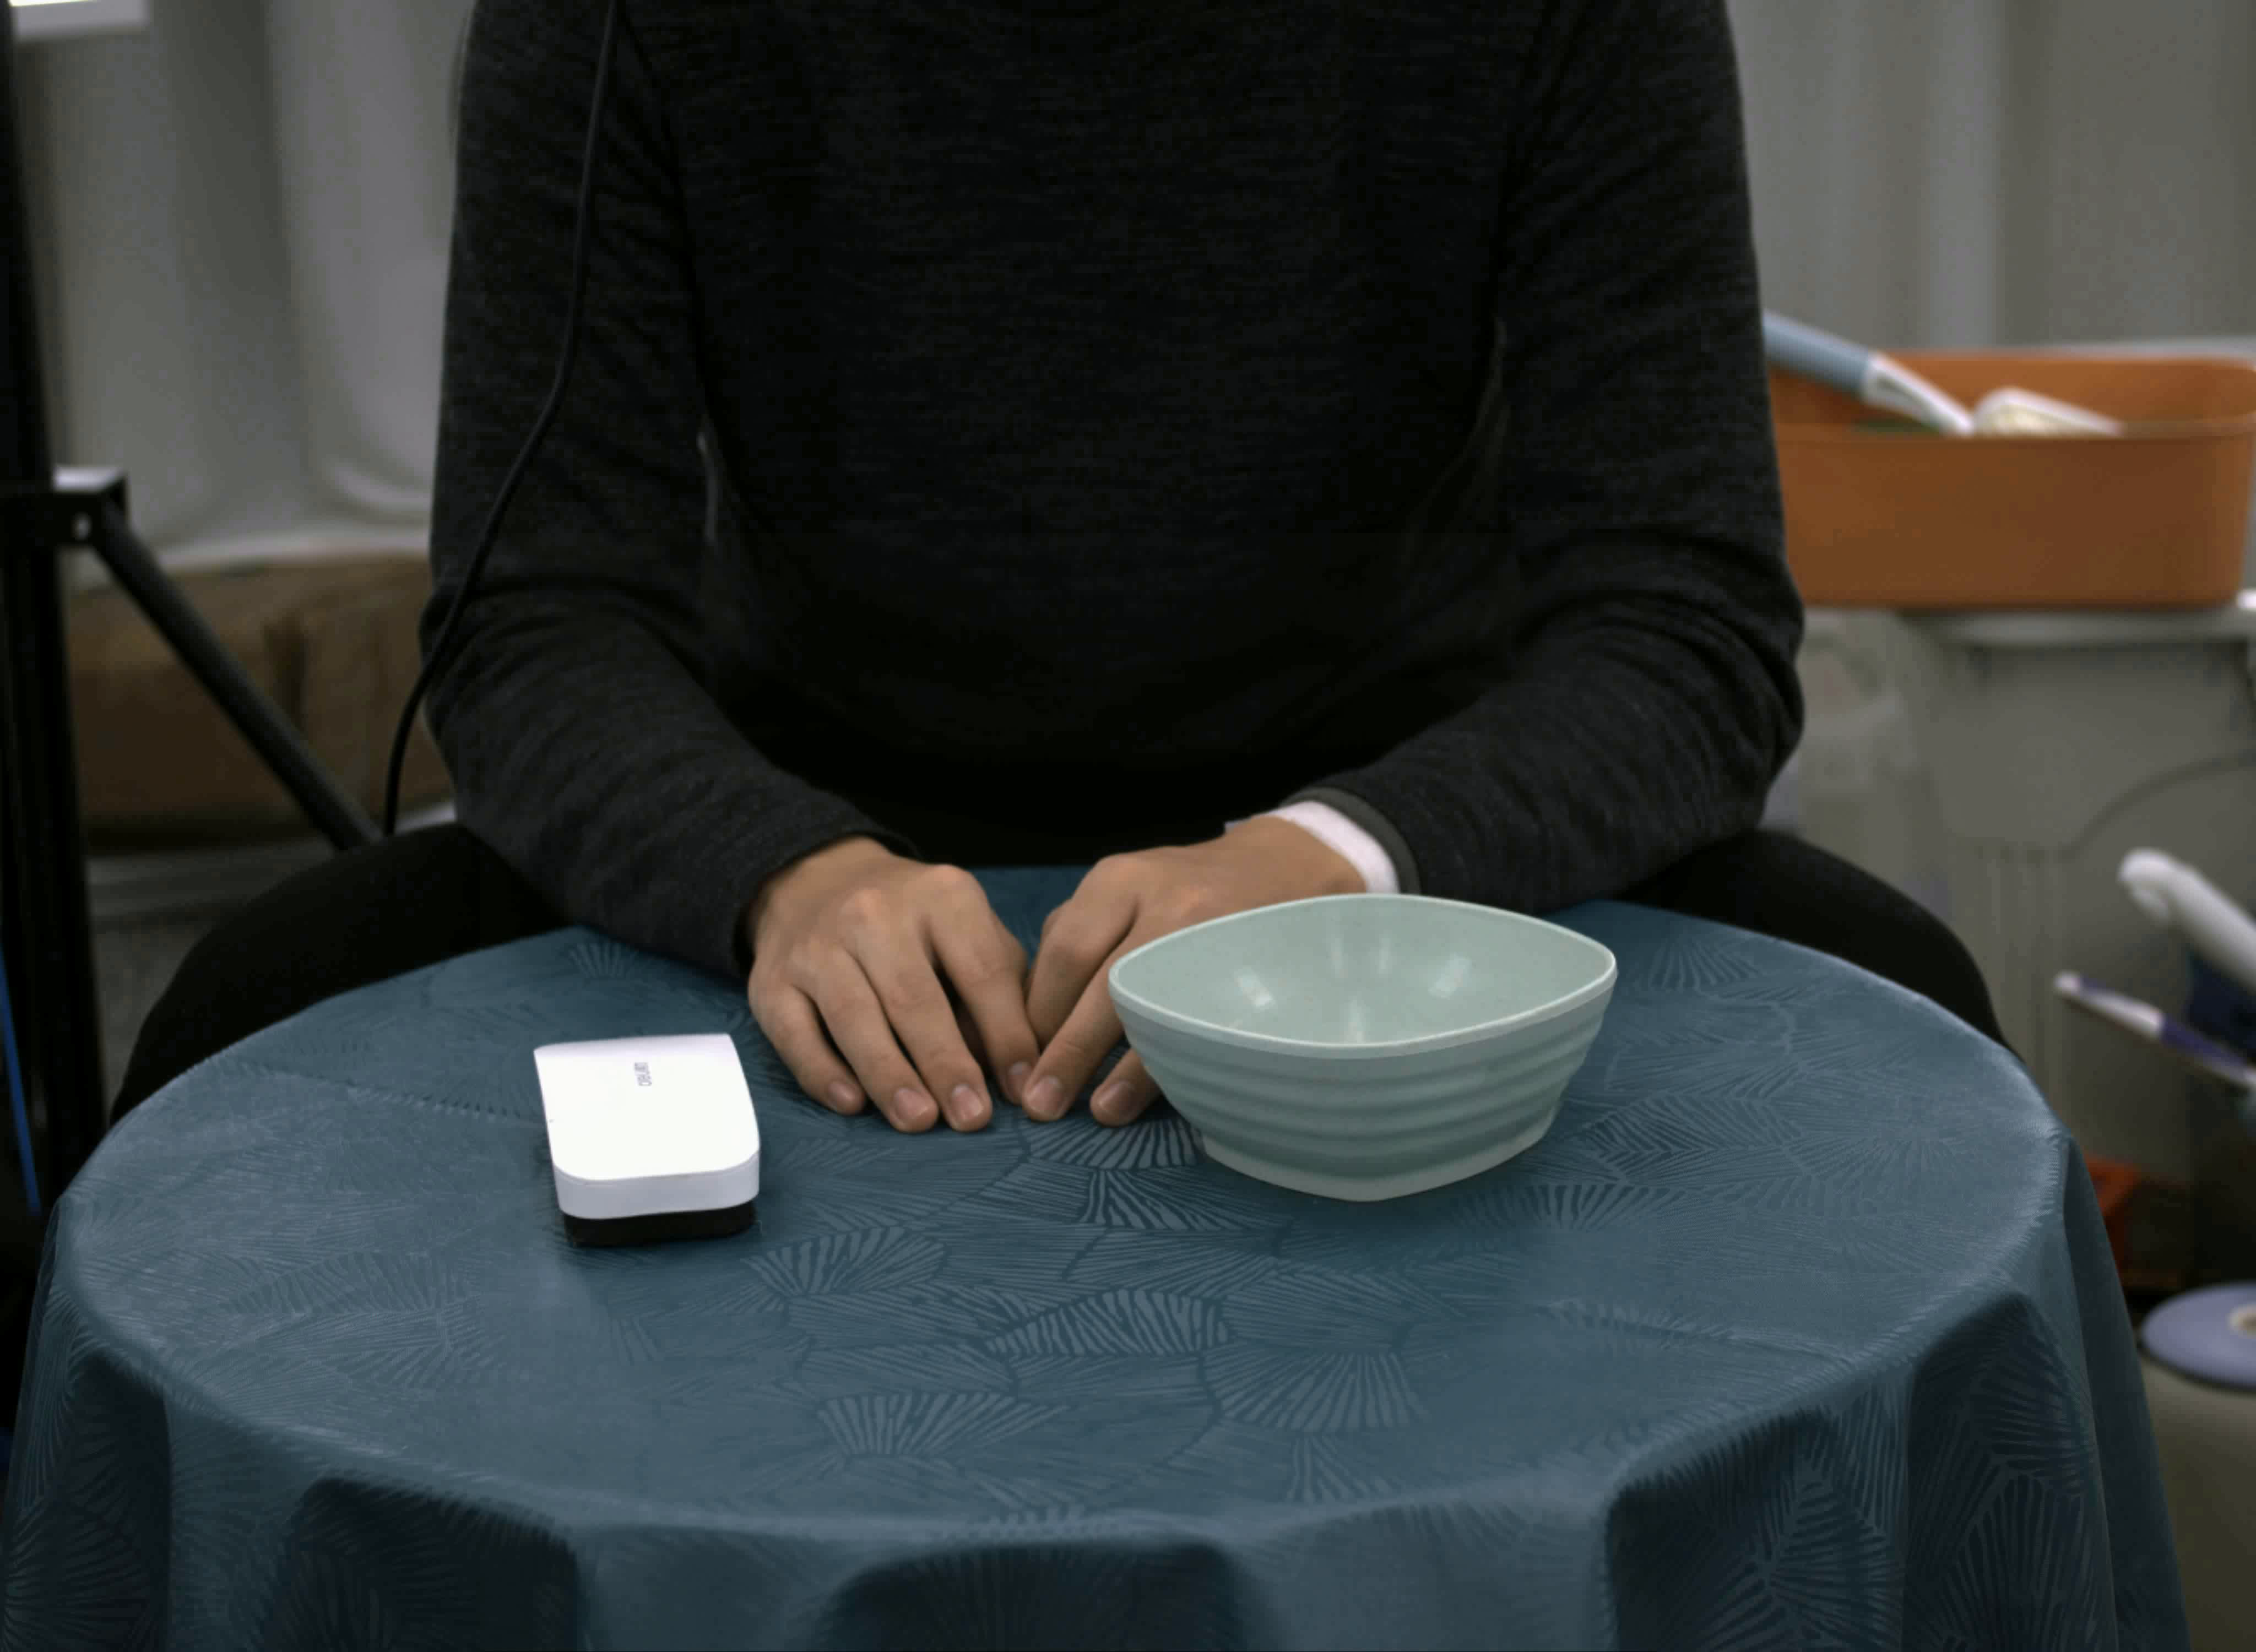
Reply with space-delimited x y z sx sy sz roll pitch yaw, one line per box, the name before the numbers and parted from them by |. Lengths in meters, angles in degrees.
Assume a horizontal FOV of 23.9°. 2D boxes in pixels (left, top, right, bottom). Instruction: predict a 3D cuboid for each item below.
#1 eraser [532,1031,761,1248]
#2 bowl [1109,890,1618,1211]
eraser | -0.143 0.089 1.591 0.063 0.034 0.133 -2 17 -8
bowl | 0.070 0.070 1.579 0.150 0.058 0.152 -2 17 -1
